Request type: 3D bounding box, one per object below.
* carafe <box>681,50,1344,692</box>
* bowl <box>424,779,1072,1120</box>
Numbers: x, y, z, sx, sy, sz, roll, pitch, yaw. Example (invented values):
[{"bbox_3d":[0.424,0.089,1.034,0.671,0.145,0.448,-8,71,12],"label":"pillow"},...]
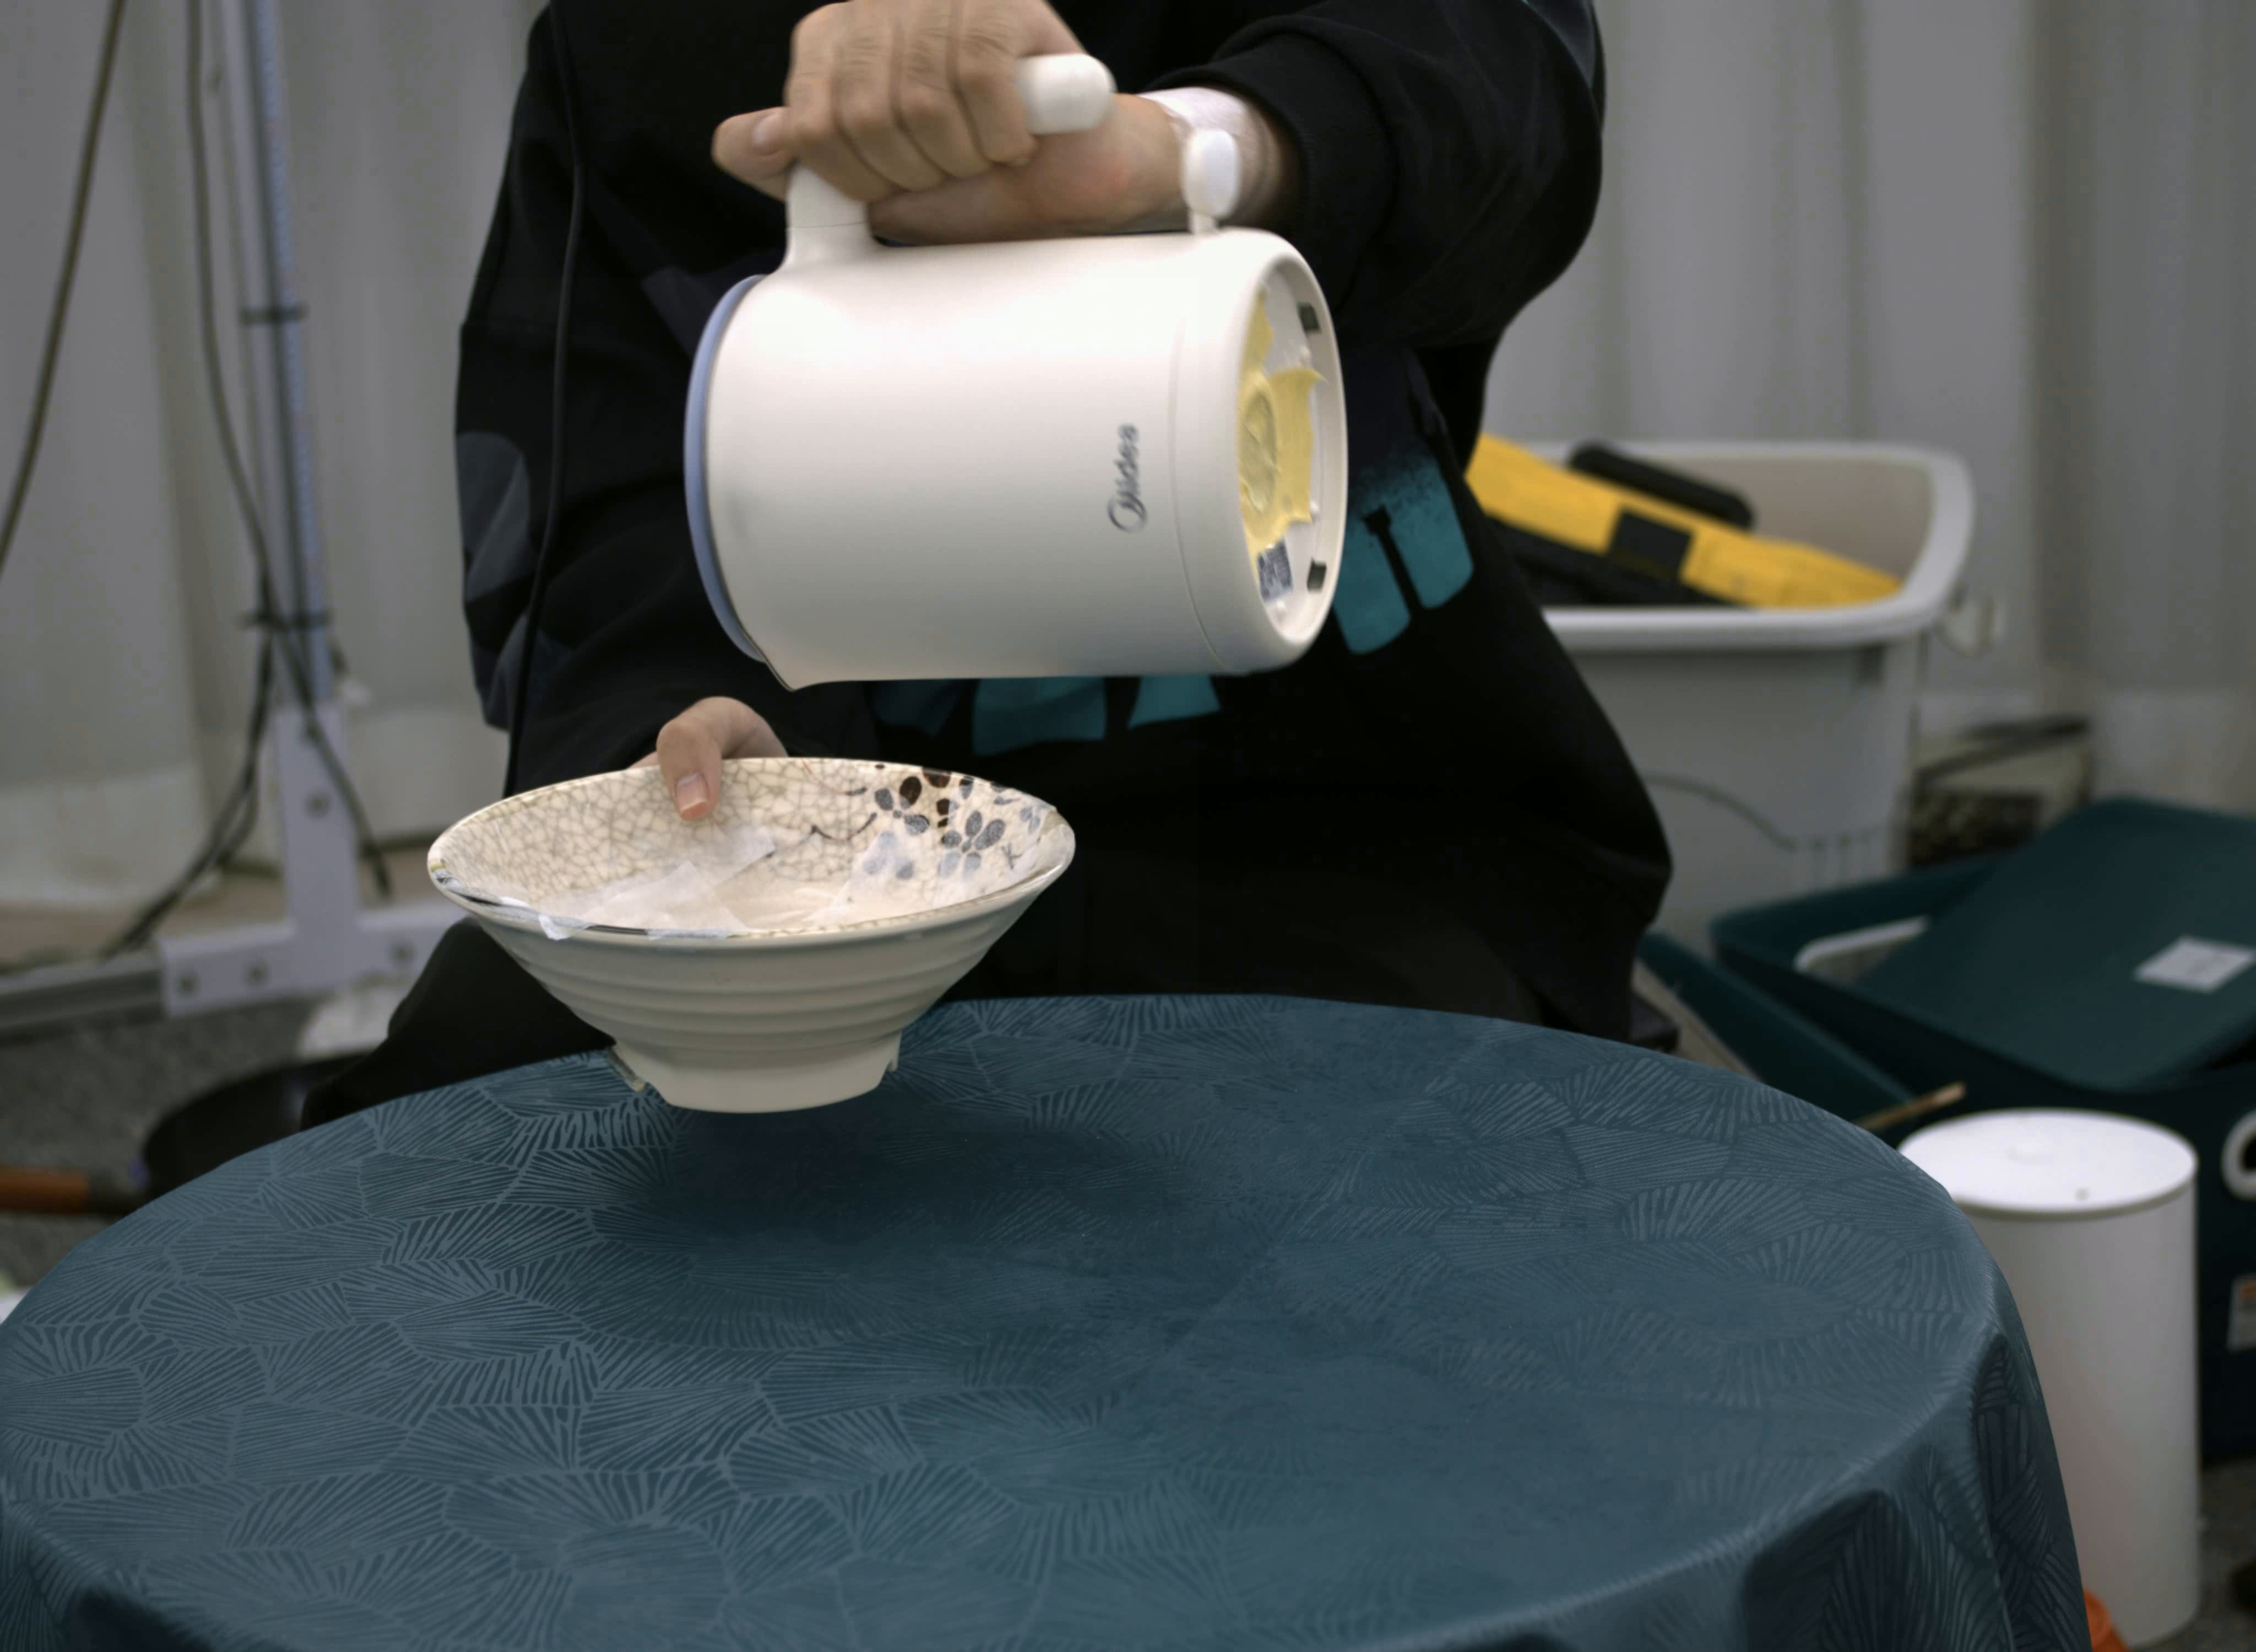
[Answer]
[{"bbox_3d":[-0.034,-0.135,1.641,0.182,0.191,0.132,0,7,18],"label":"carafe"},{"bbox_3d":[-0.119,0.044,1.724,0.203,0.078,0.205,0,12,0],"label":"bowl"}]
